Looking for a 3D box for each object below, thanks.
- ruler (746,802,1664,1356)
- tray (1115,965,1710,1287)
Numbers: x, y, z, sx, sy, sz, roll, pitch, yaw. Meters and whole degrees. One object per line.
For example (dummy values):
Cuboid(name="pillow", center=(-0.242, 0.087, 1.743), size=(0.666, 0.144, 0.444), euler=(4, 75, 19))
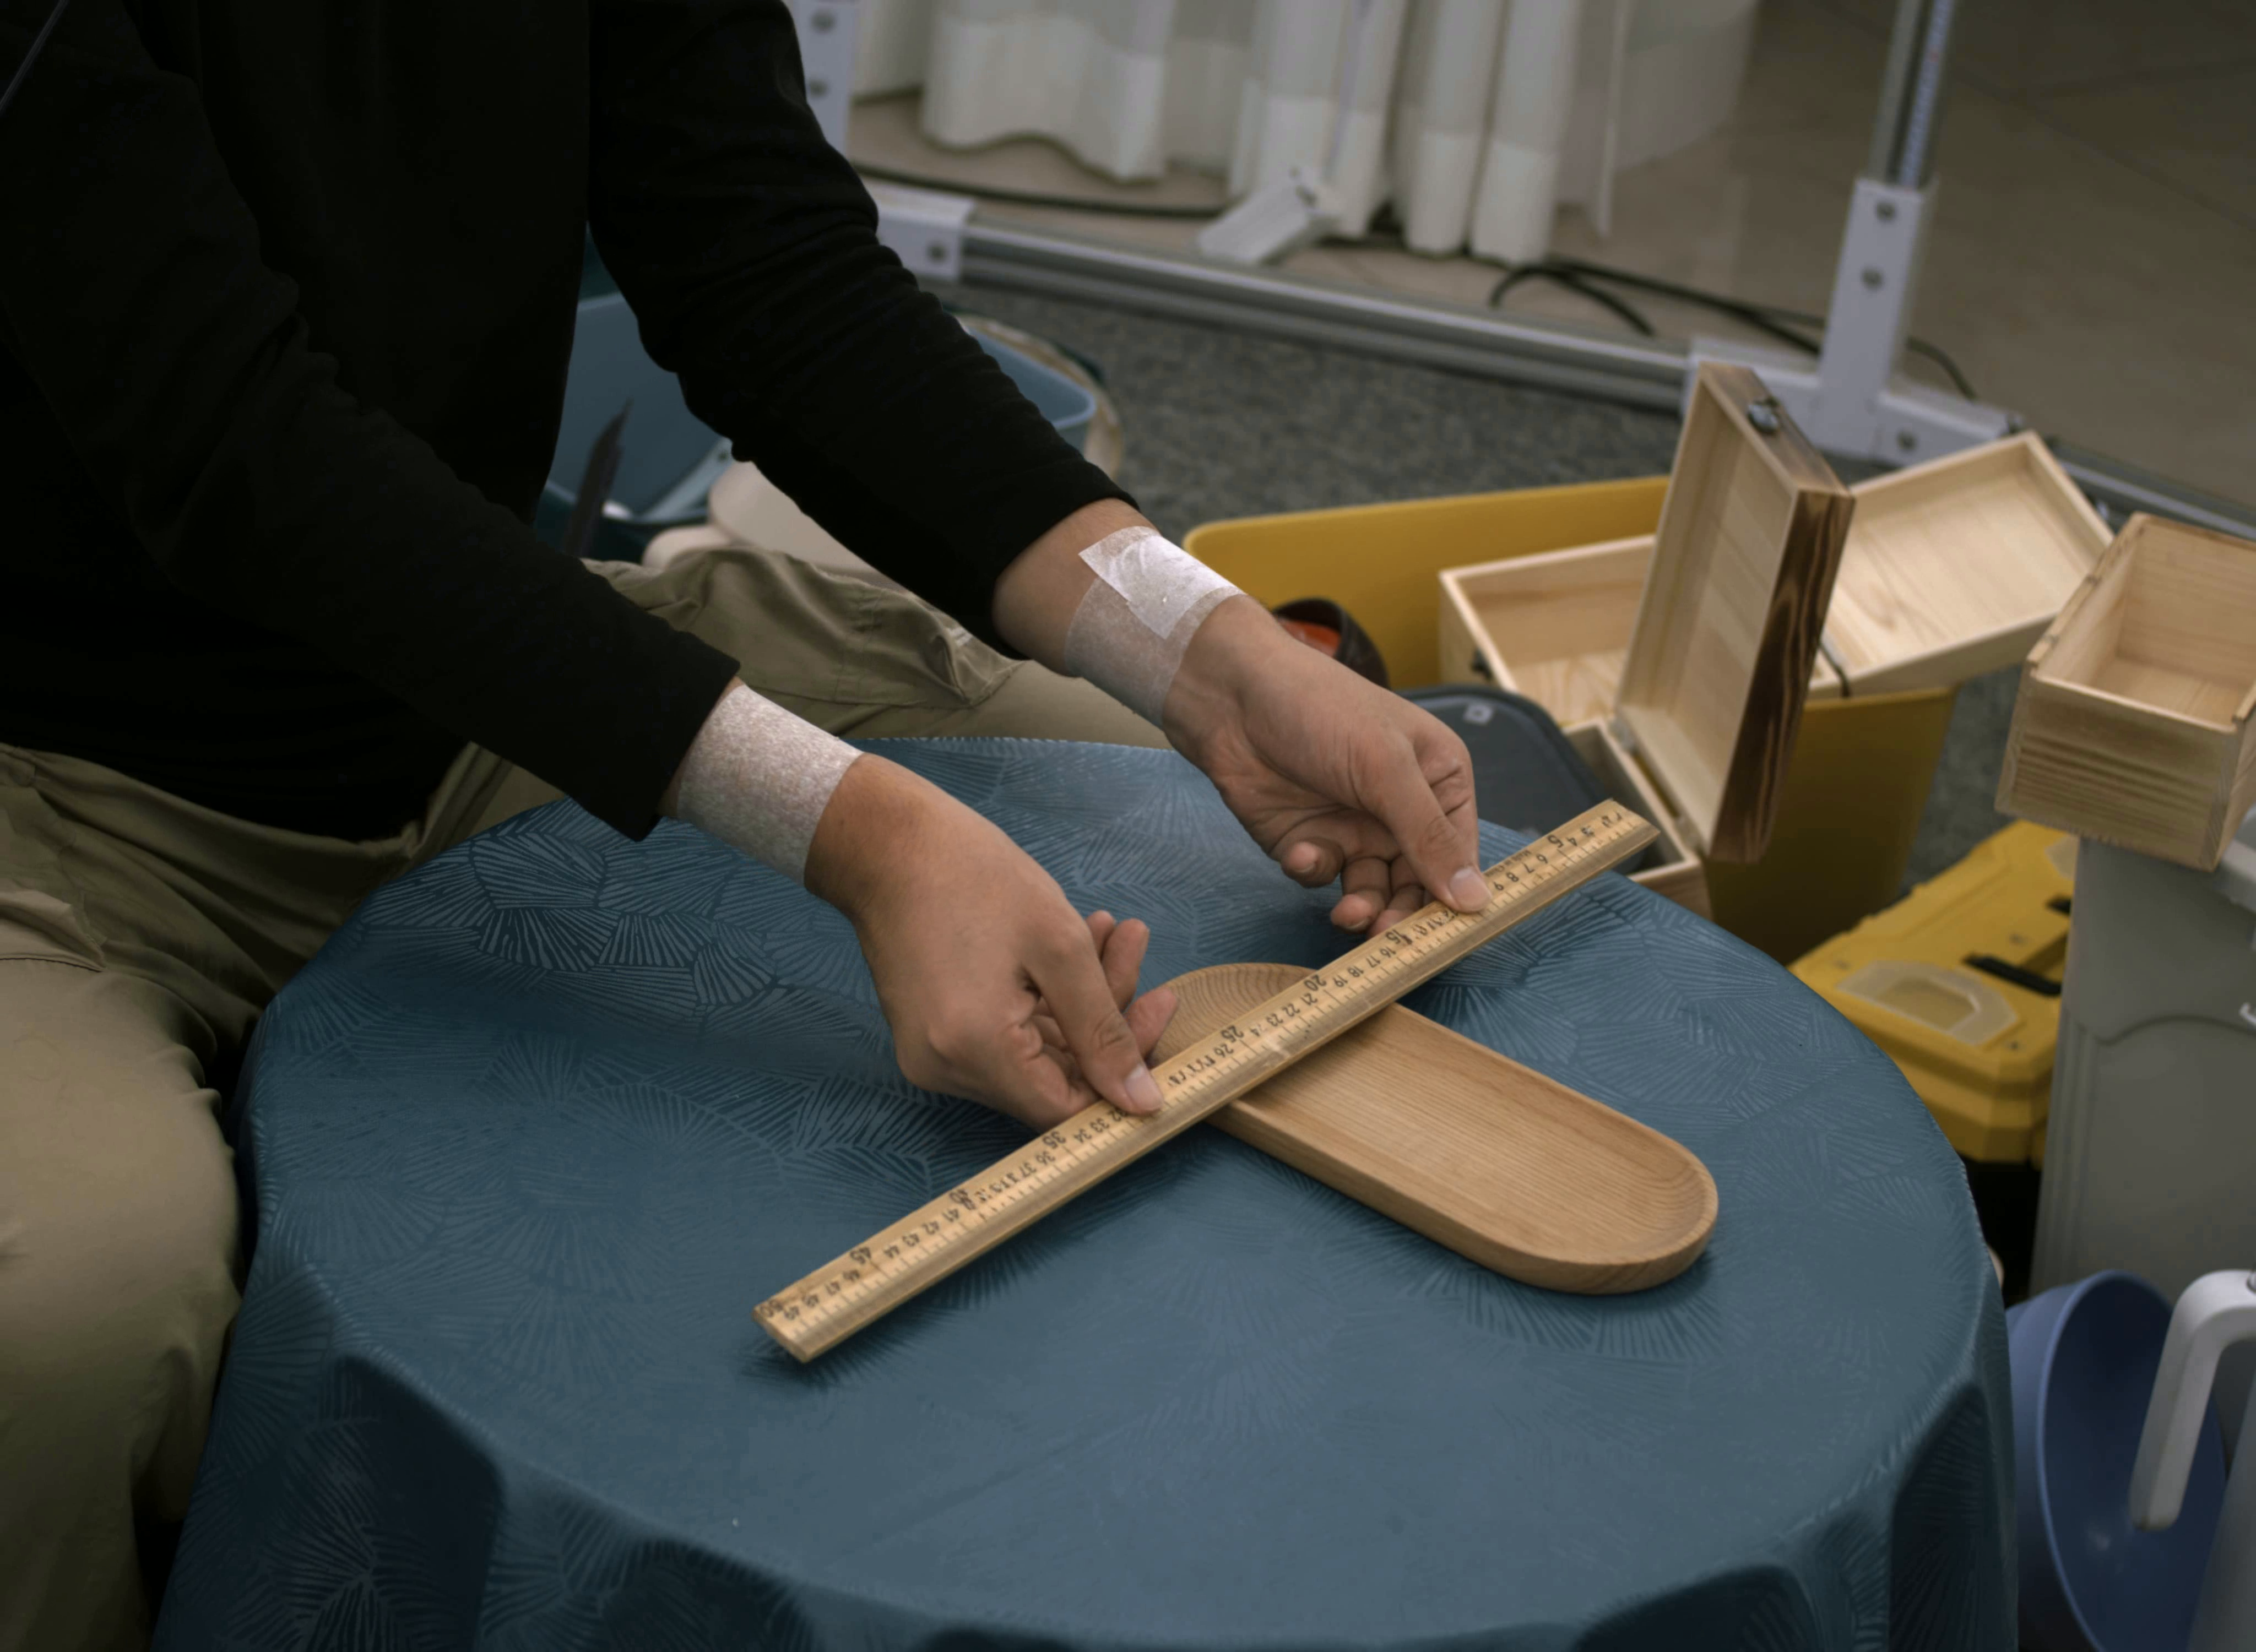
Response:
Cuboid(name="ruler", center=(0.041, 0.078, 1.854), size=(0.027, 0.006, 0.499), euler=(39, 40, 22))
Cuboid(name="tray", center=(0.096, 0.103, 1.845), size=(0.232, 0.020, 0.101), euler=(23, 31, 32))
